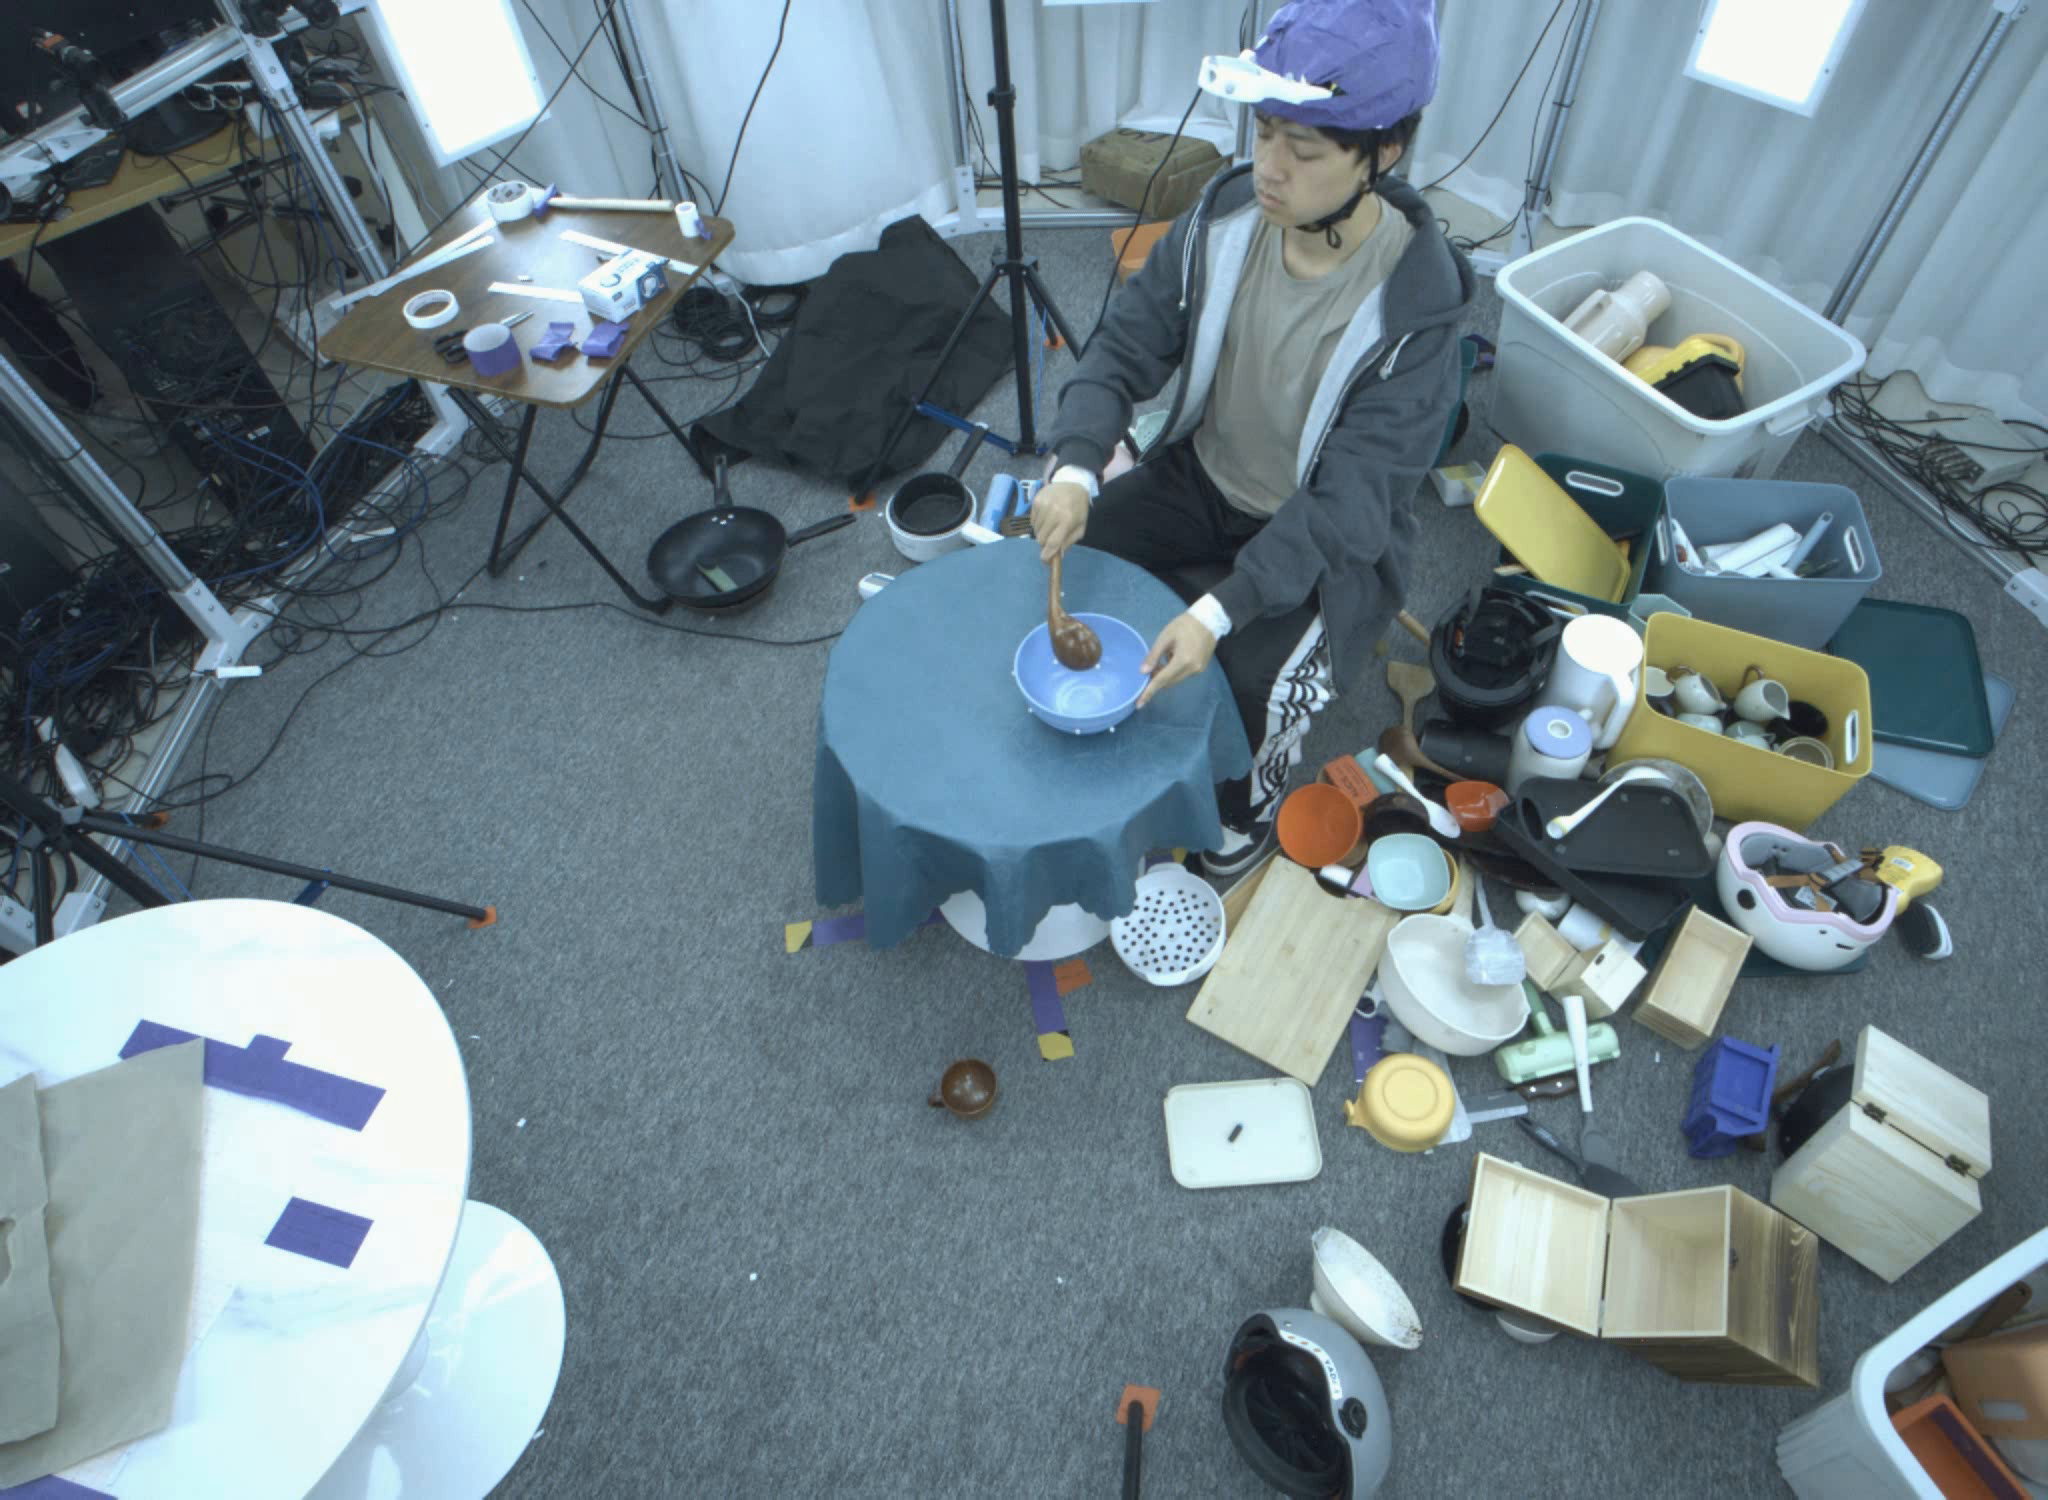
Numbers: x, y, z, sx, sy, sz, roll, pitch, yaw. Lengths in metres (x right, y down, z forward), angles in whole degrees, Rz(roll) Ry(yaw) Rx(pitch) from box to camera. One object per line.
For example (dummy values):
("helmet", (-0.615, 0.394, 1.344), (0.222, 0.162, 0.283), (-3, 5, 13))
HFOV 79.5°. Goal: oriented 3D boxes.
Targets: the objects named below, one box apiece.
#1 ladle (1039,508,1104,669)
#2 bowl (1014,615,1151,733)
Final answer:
("ladle", (0.067, -0.239, 1.778), (0.078, 0.081, 0.271), (13, 55, -25))
("bowl", (0.086, -0.096, 1.797), (0.196, 0.096, 0.194), (0, 53, 2))
